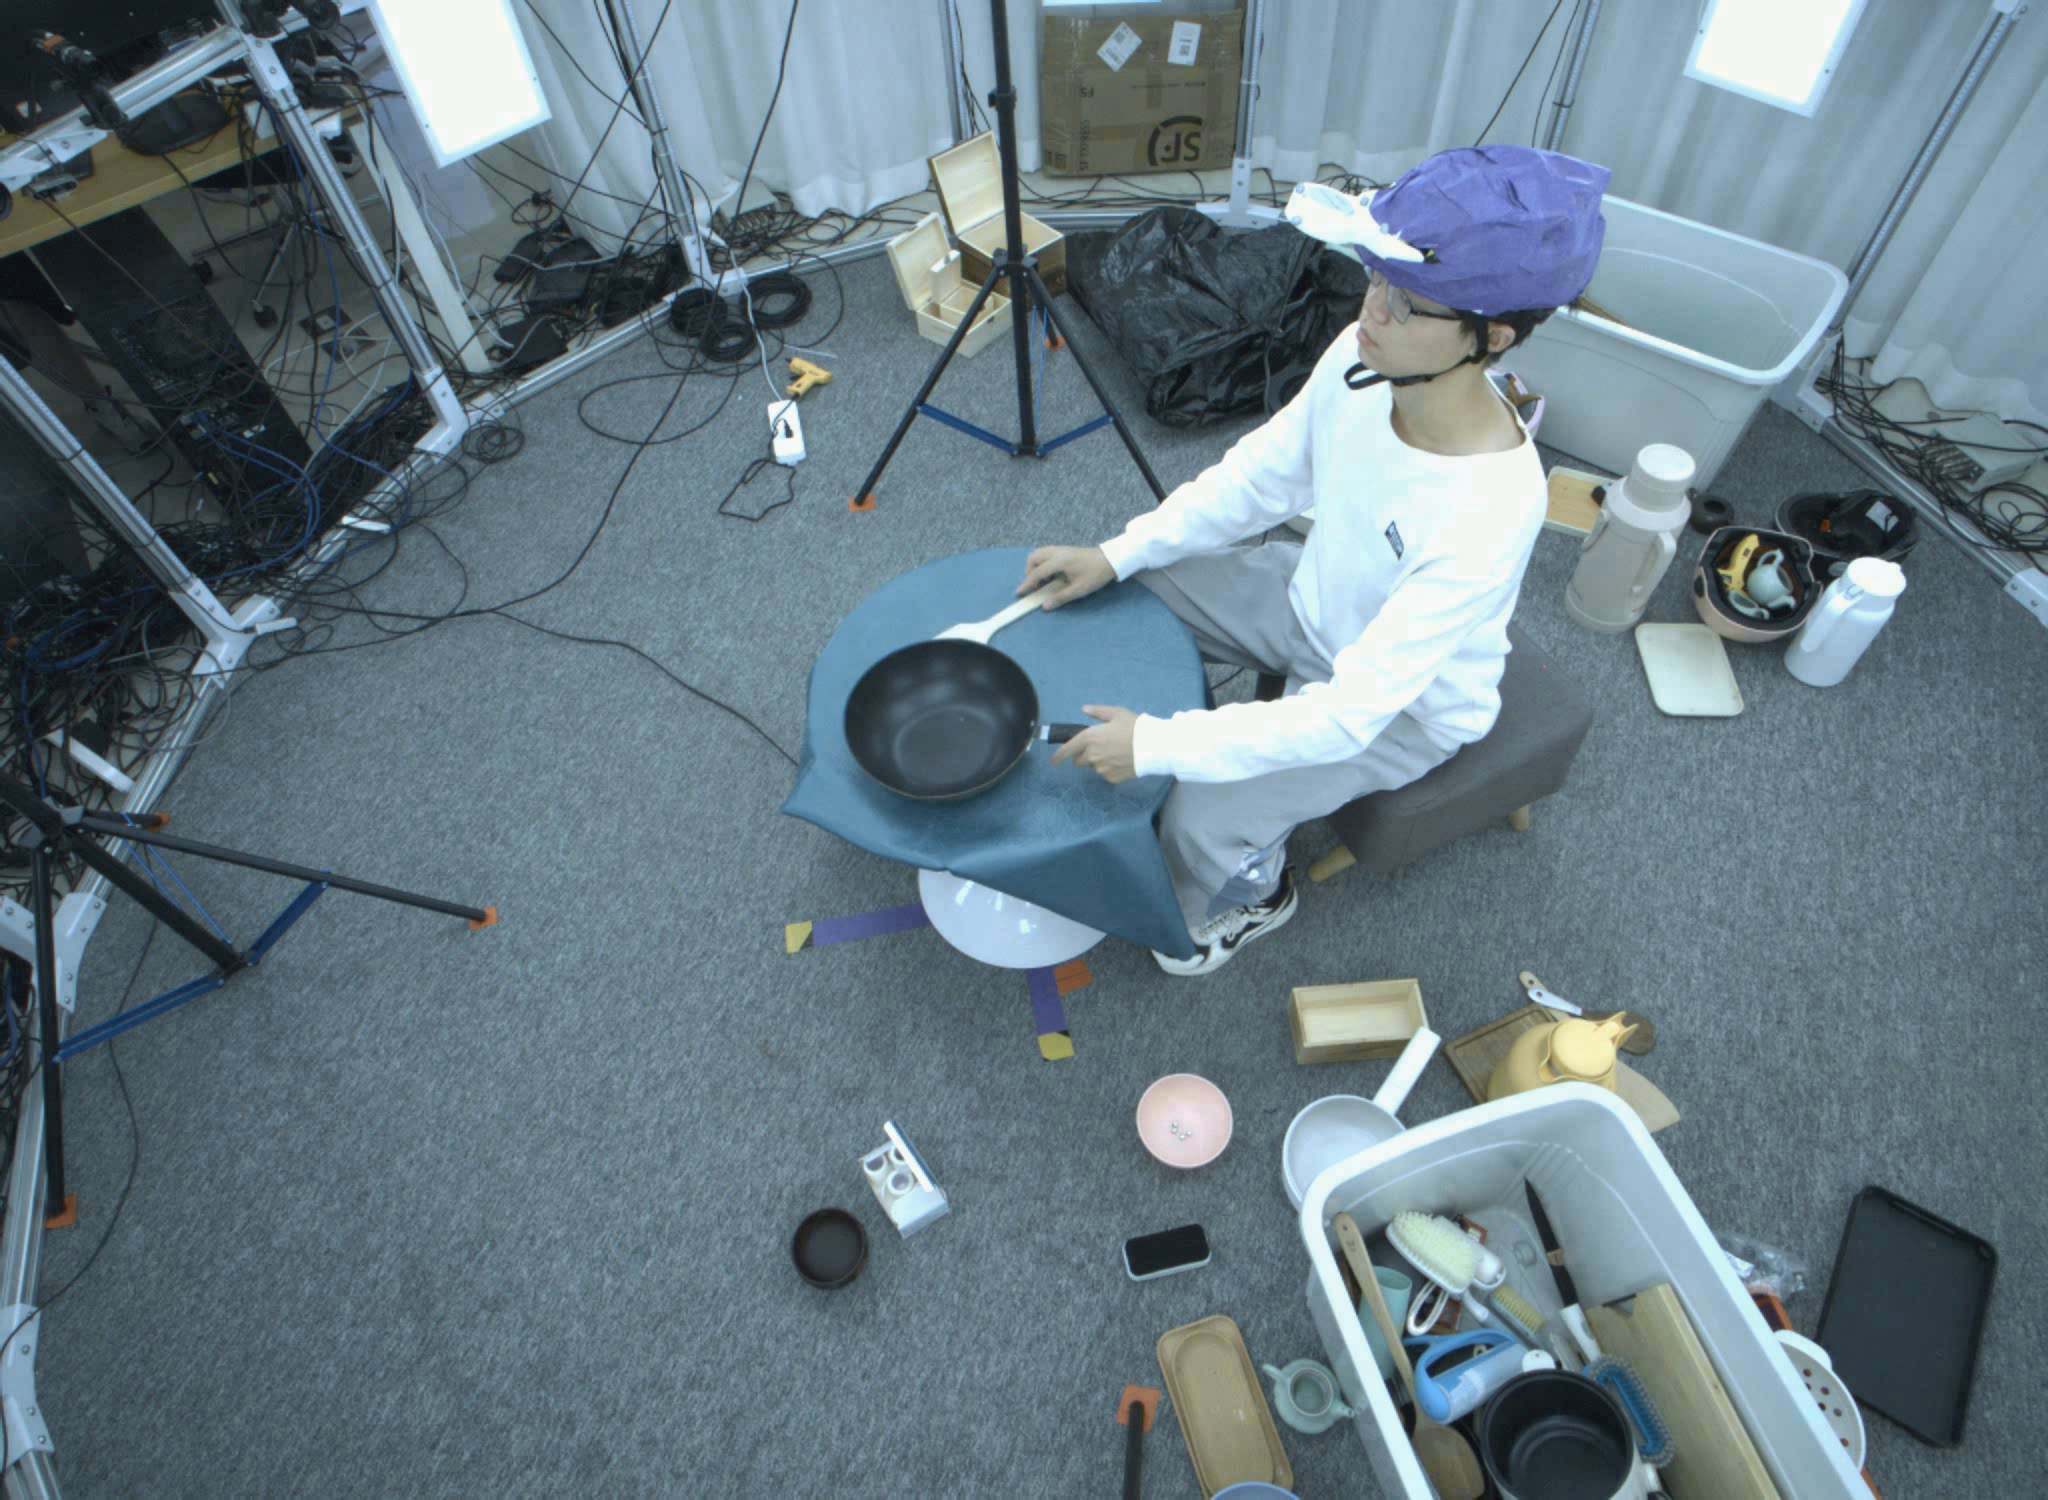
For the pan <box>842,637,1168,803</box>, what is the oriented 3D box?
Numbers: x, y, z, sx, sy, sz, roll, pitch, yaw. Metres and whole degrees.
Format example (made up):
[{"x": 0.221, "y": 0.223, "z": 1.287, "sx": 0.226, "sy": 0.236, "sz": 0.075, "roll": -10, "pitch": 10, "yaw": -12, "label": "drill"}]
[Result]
[{"x": -0.027, "y": -0.018, "z": 1.747, "sx": 0.461, "sy": 0.088, "sz": 0.286, "roll": 8, "pitch": 56, "yaw": 7, "label": "pan"}]

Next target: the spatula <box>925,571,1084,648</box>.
[{"x": -0.026, "y": -0.210, "z": 1.930, "sx": 0.295, "sy": 0.011, "sz": 0.071, "roll": -33, "pitch": 59, "yaw": -20, "label": "spatula"}]
